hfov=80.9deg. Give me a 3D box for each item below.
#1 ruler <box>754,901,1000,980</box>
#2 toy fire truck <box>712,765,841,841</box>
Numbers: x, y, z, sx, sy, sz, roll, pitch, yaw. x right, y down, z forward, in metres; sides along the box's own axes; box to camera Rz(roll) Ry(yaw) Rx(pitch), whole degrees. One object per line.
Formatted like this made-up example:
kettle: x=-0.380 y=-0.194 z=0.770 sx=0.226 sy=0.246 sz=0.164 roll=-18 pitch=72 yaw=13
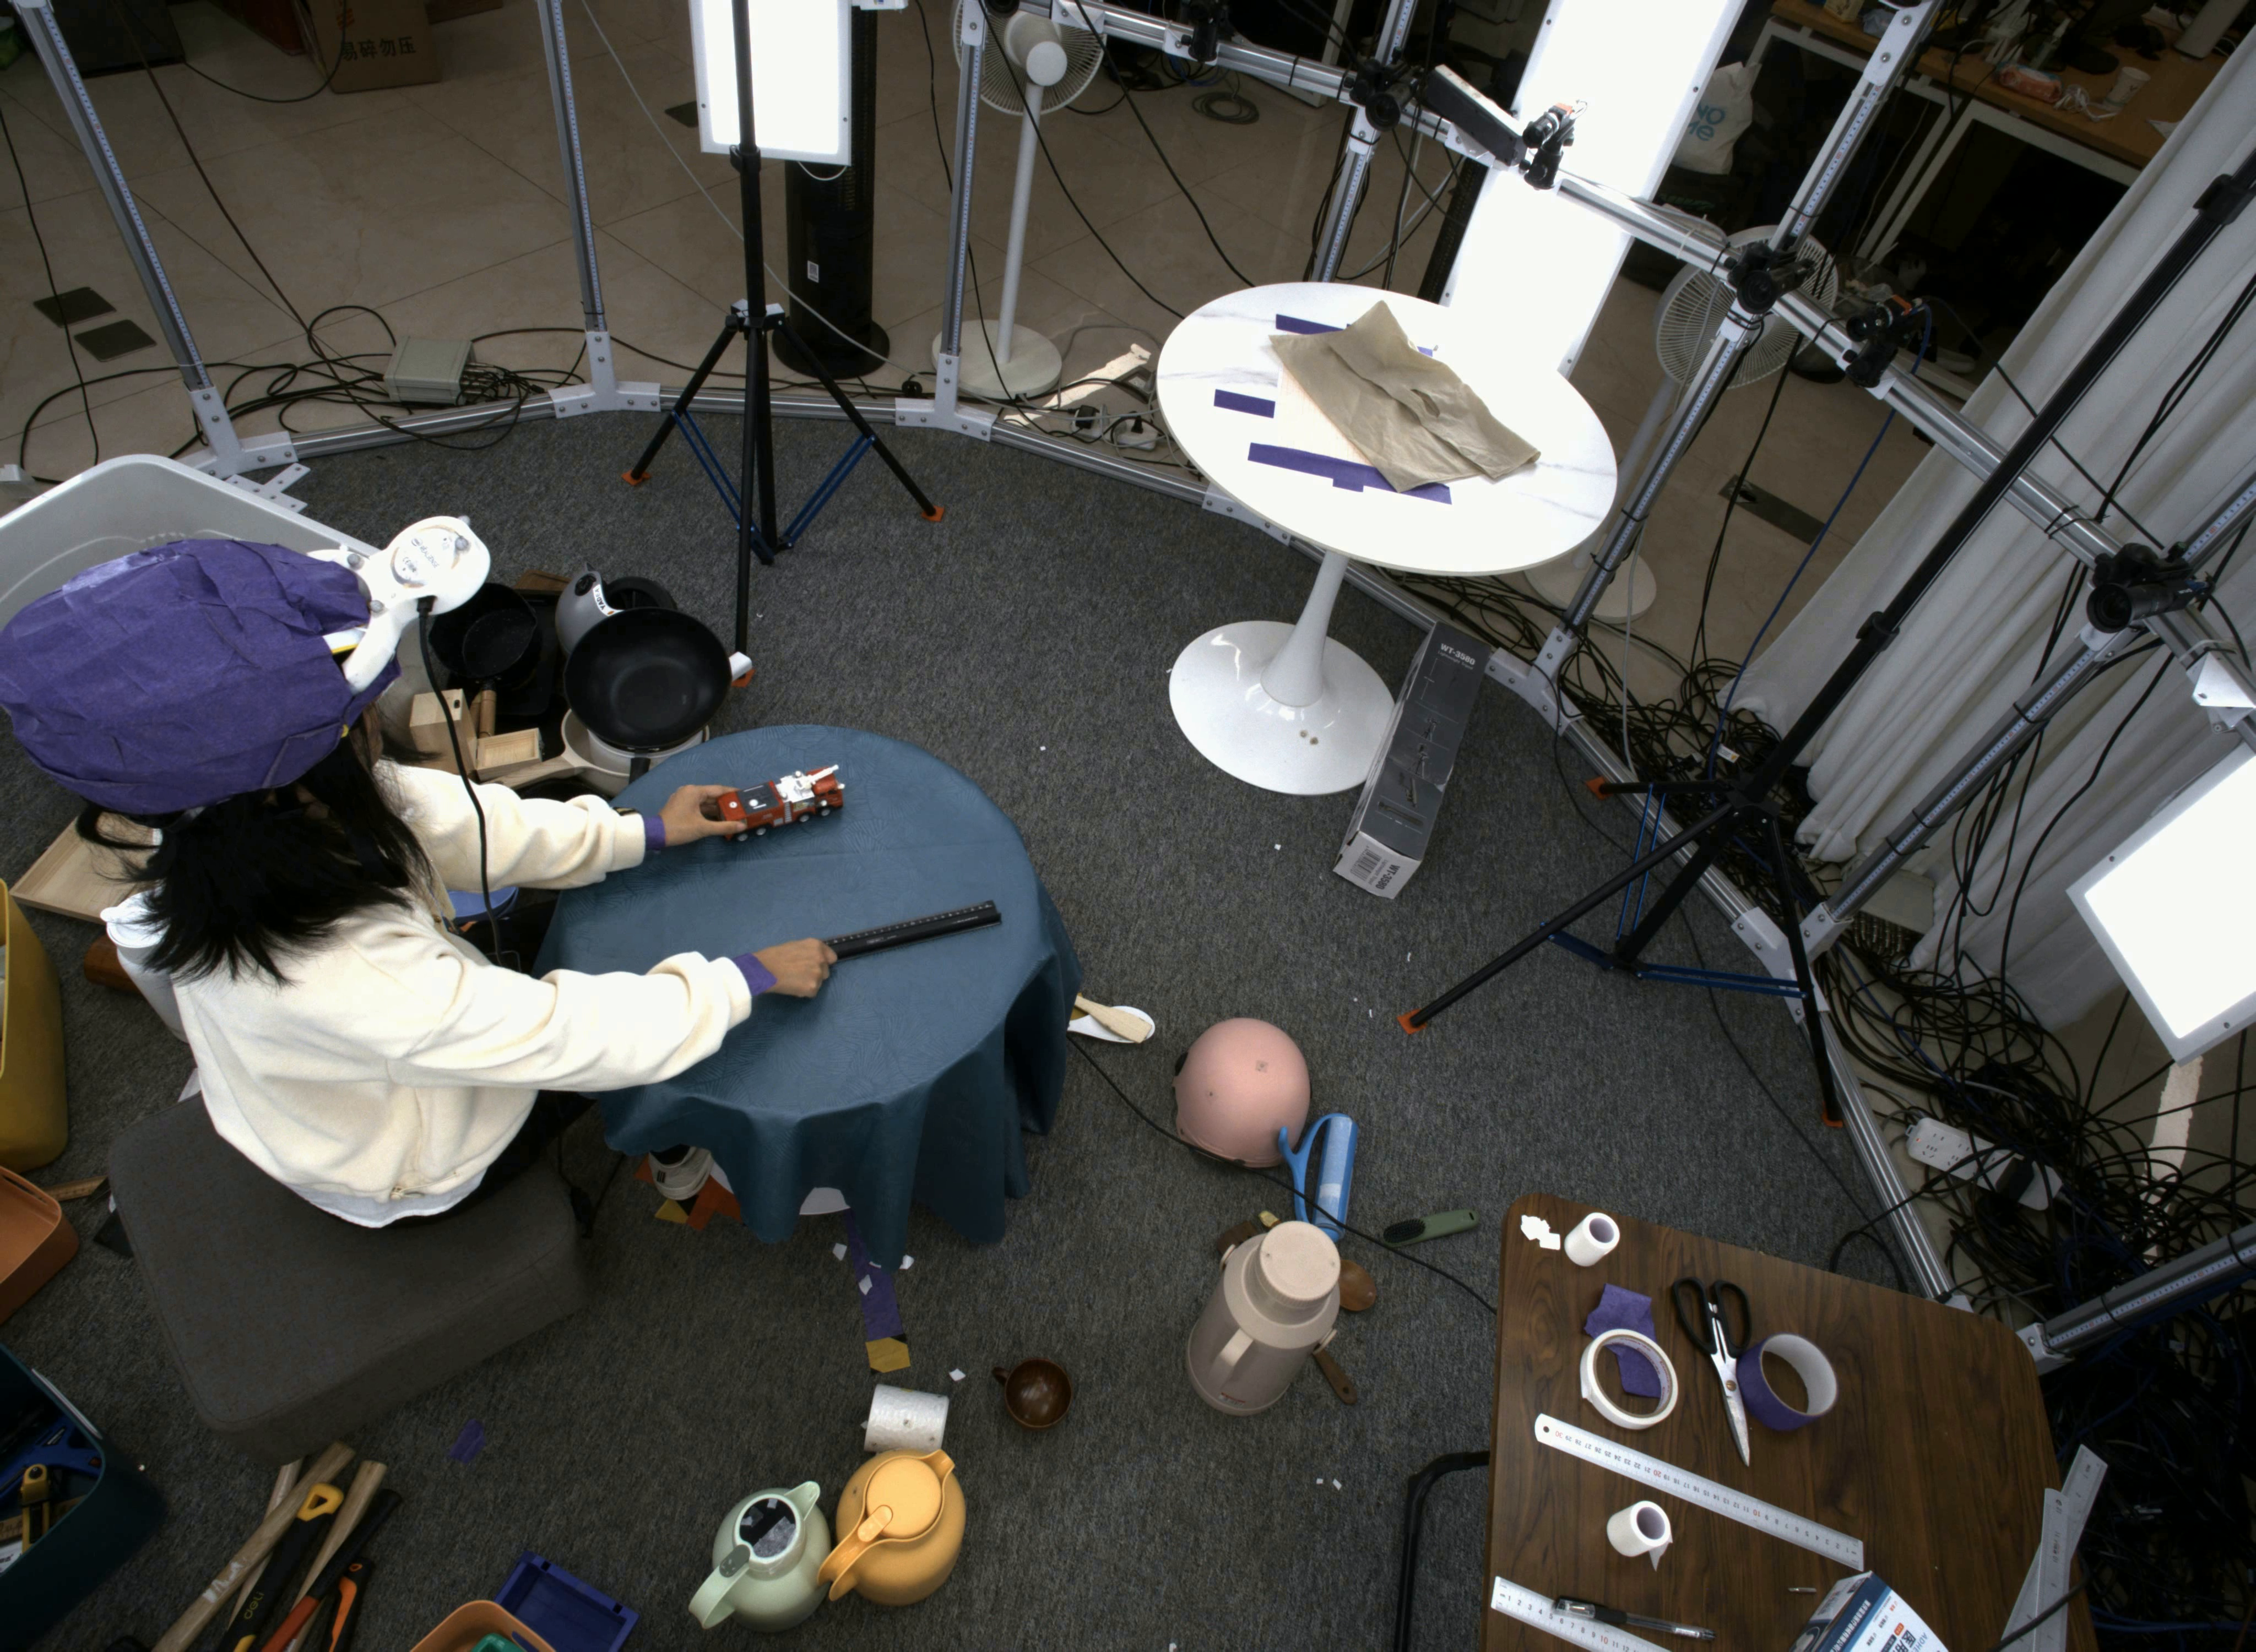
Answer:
ruler: x=-0.312 y=0.136 z=1.637 sx=0.314 sy=0.017 sz=0.038 roll=-12 pitch=55 yaw=-22
toy fire truck: x=-0.459 y=-0.033 z=1.696 sx=0.169 sy=0.072 sz=0.052 roll=-20 pitch=59 yaw=-25
